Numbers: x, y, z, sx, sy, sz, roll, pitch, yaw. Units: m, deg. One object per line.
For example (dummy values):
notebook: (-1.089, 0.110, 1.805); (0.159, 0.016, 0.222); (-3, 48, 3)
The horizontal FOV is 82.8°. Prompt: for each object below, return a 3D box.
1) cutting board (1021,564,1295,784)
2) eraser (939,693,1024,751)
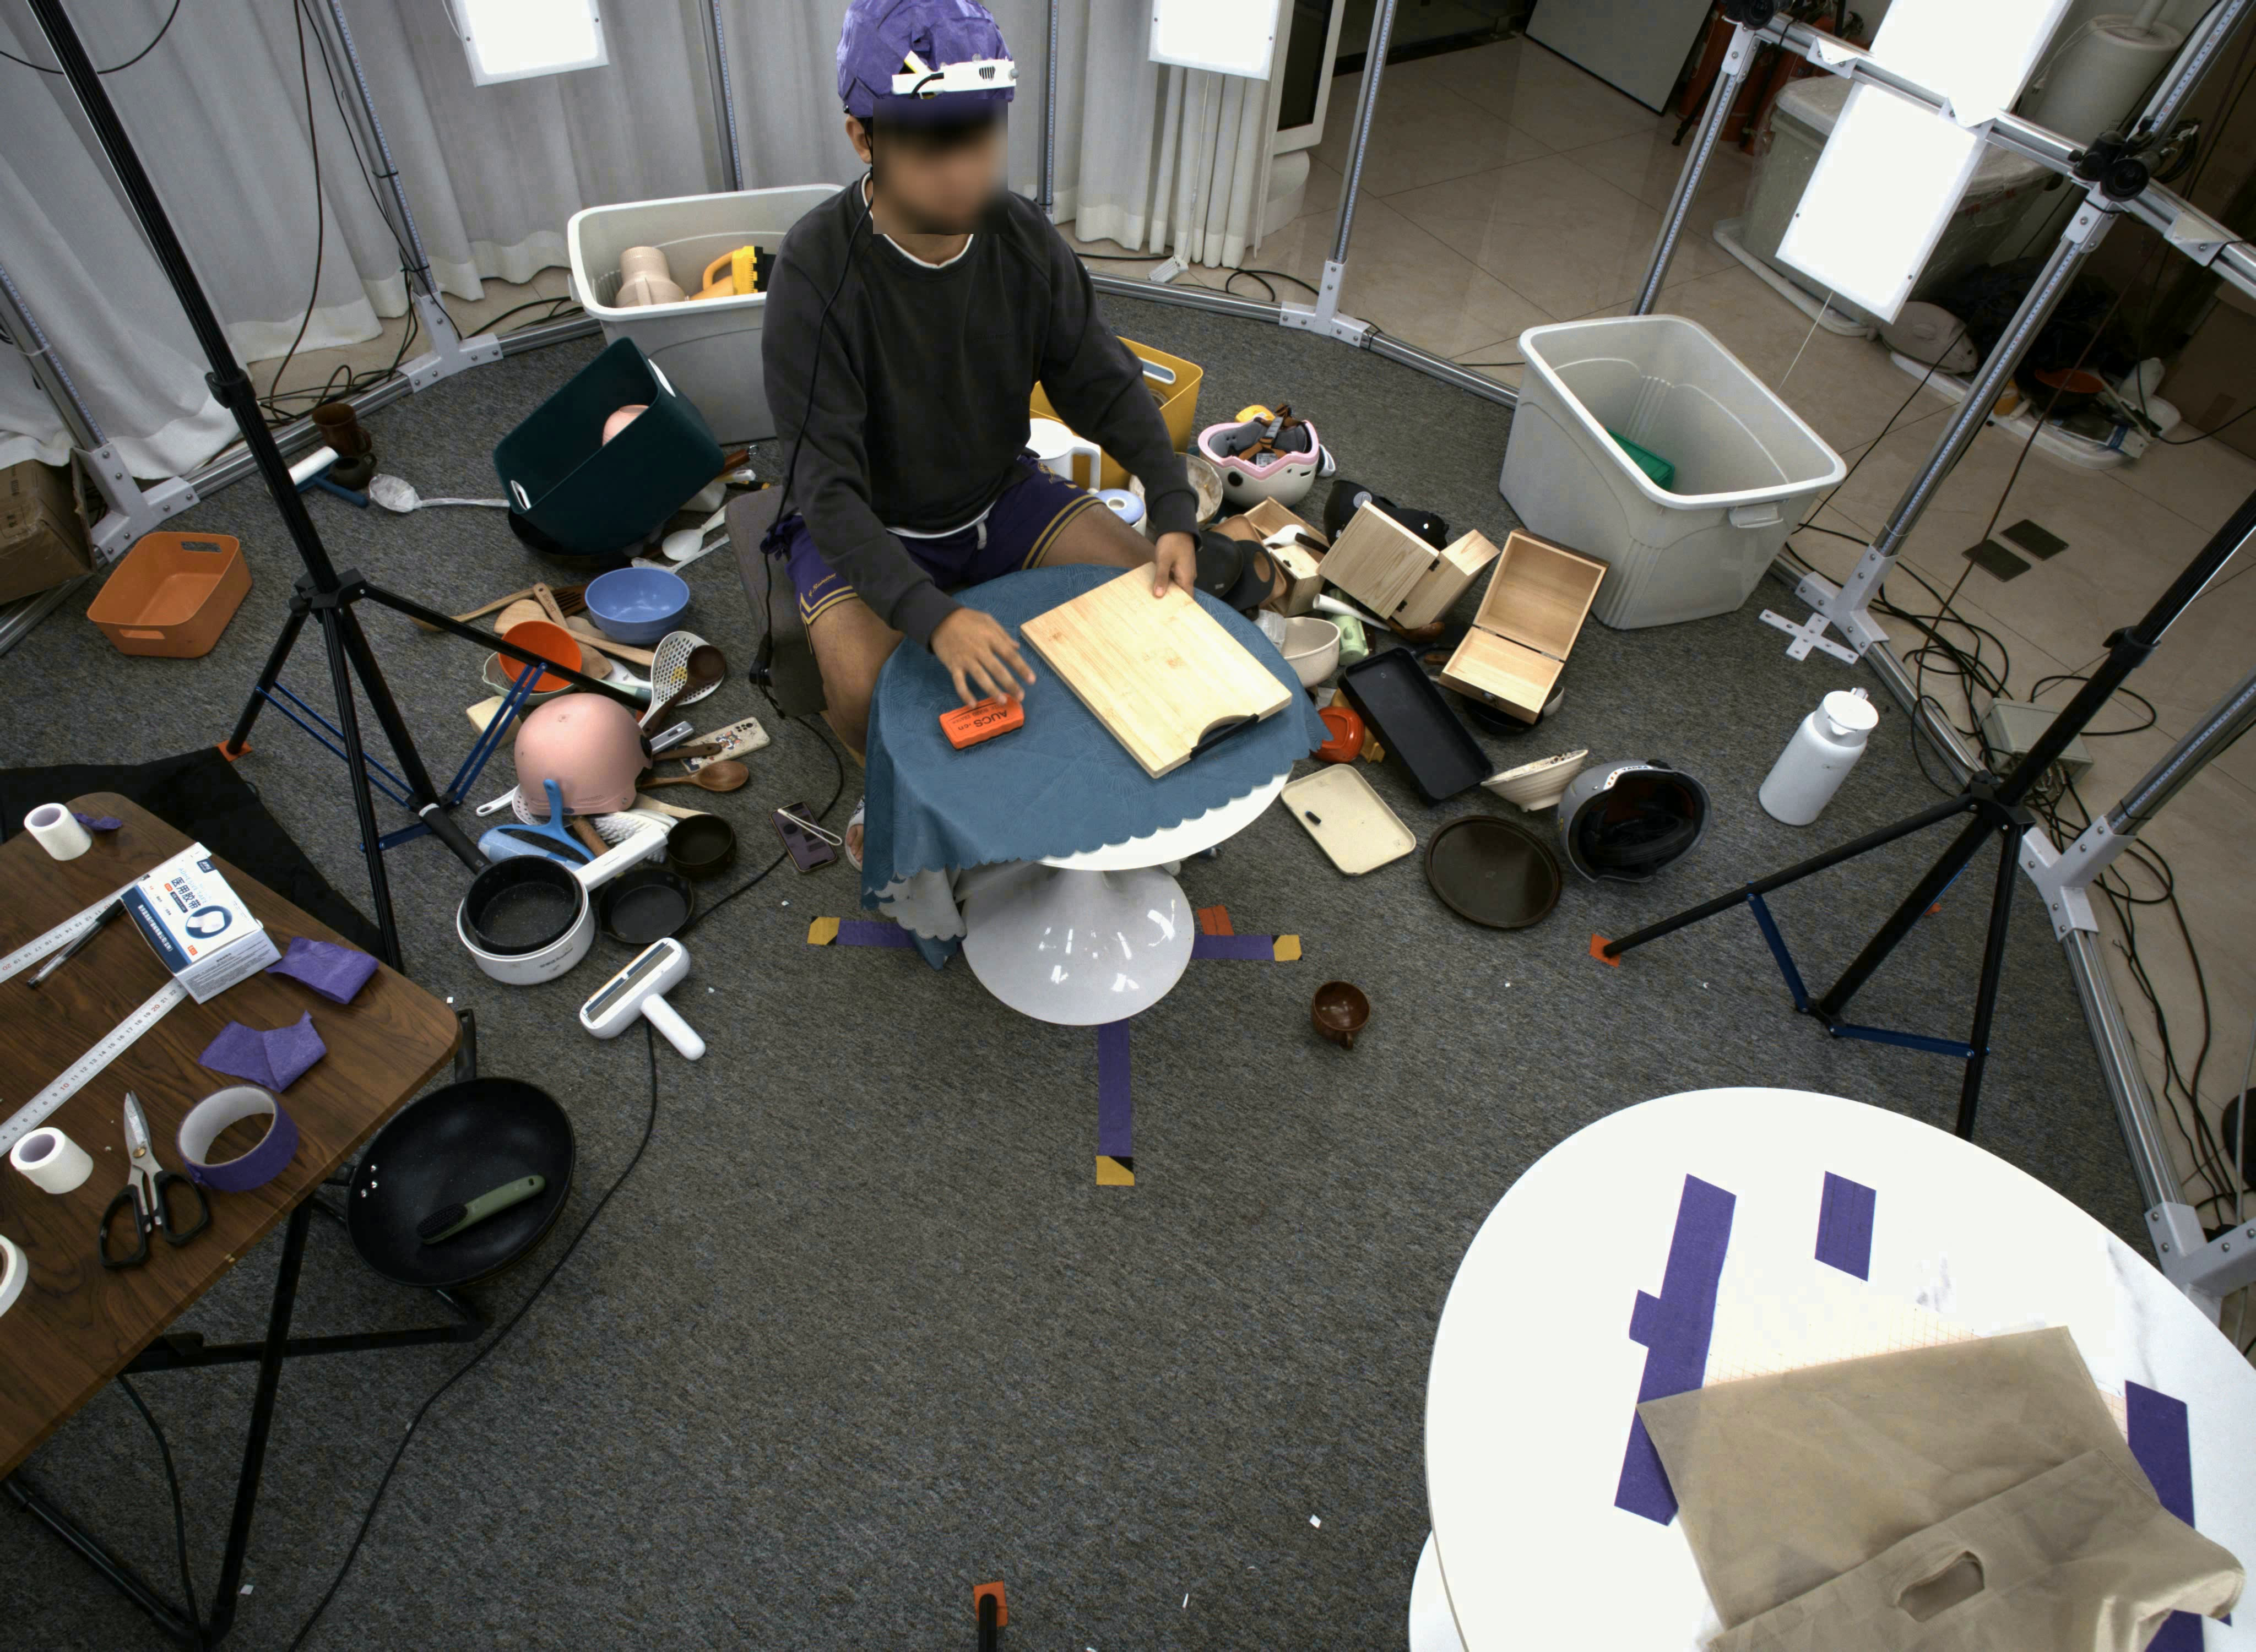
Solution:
cutting board: (0.039, -0.230, 1.844); (0.252, 0.023, 0.355); (-30, 57, -20)
eraser: (-0.200, -0.143, 1.761); (0.108, 0.022, 0.060); (-21, 53, -21)
